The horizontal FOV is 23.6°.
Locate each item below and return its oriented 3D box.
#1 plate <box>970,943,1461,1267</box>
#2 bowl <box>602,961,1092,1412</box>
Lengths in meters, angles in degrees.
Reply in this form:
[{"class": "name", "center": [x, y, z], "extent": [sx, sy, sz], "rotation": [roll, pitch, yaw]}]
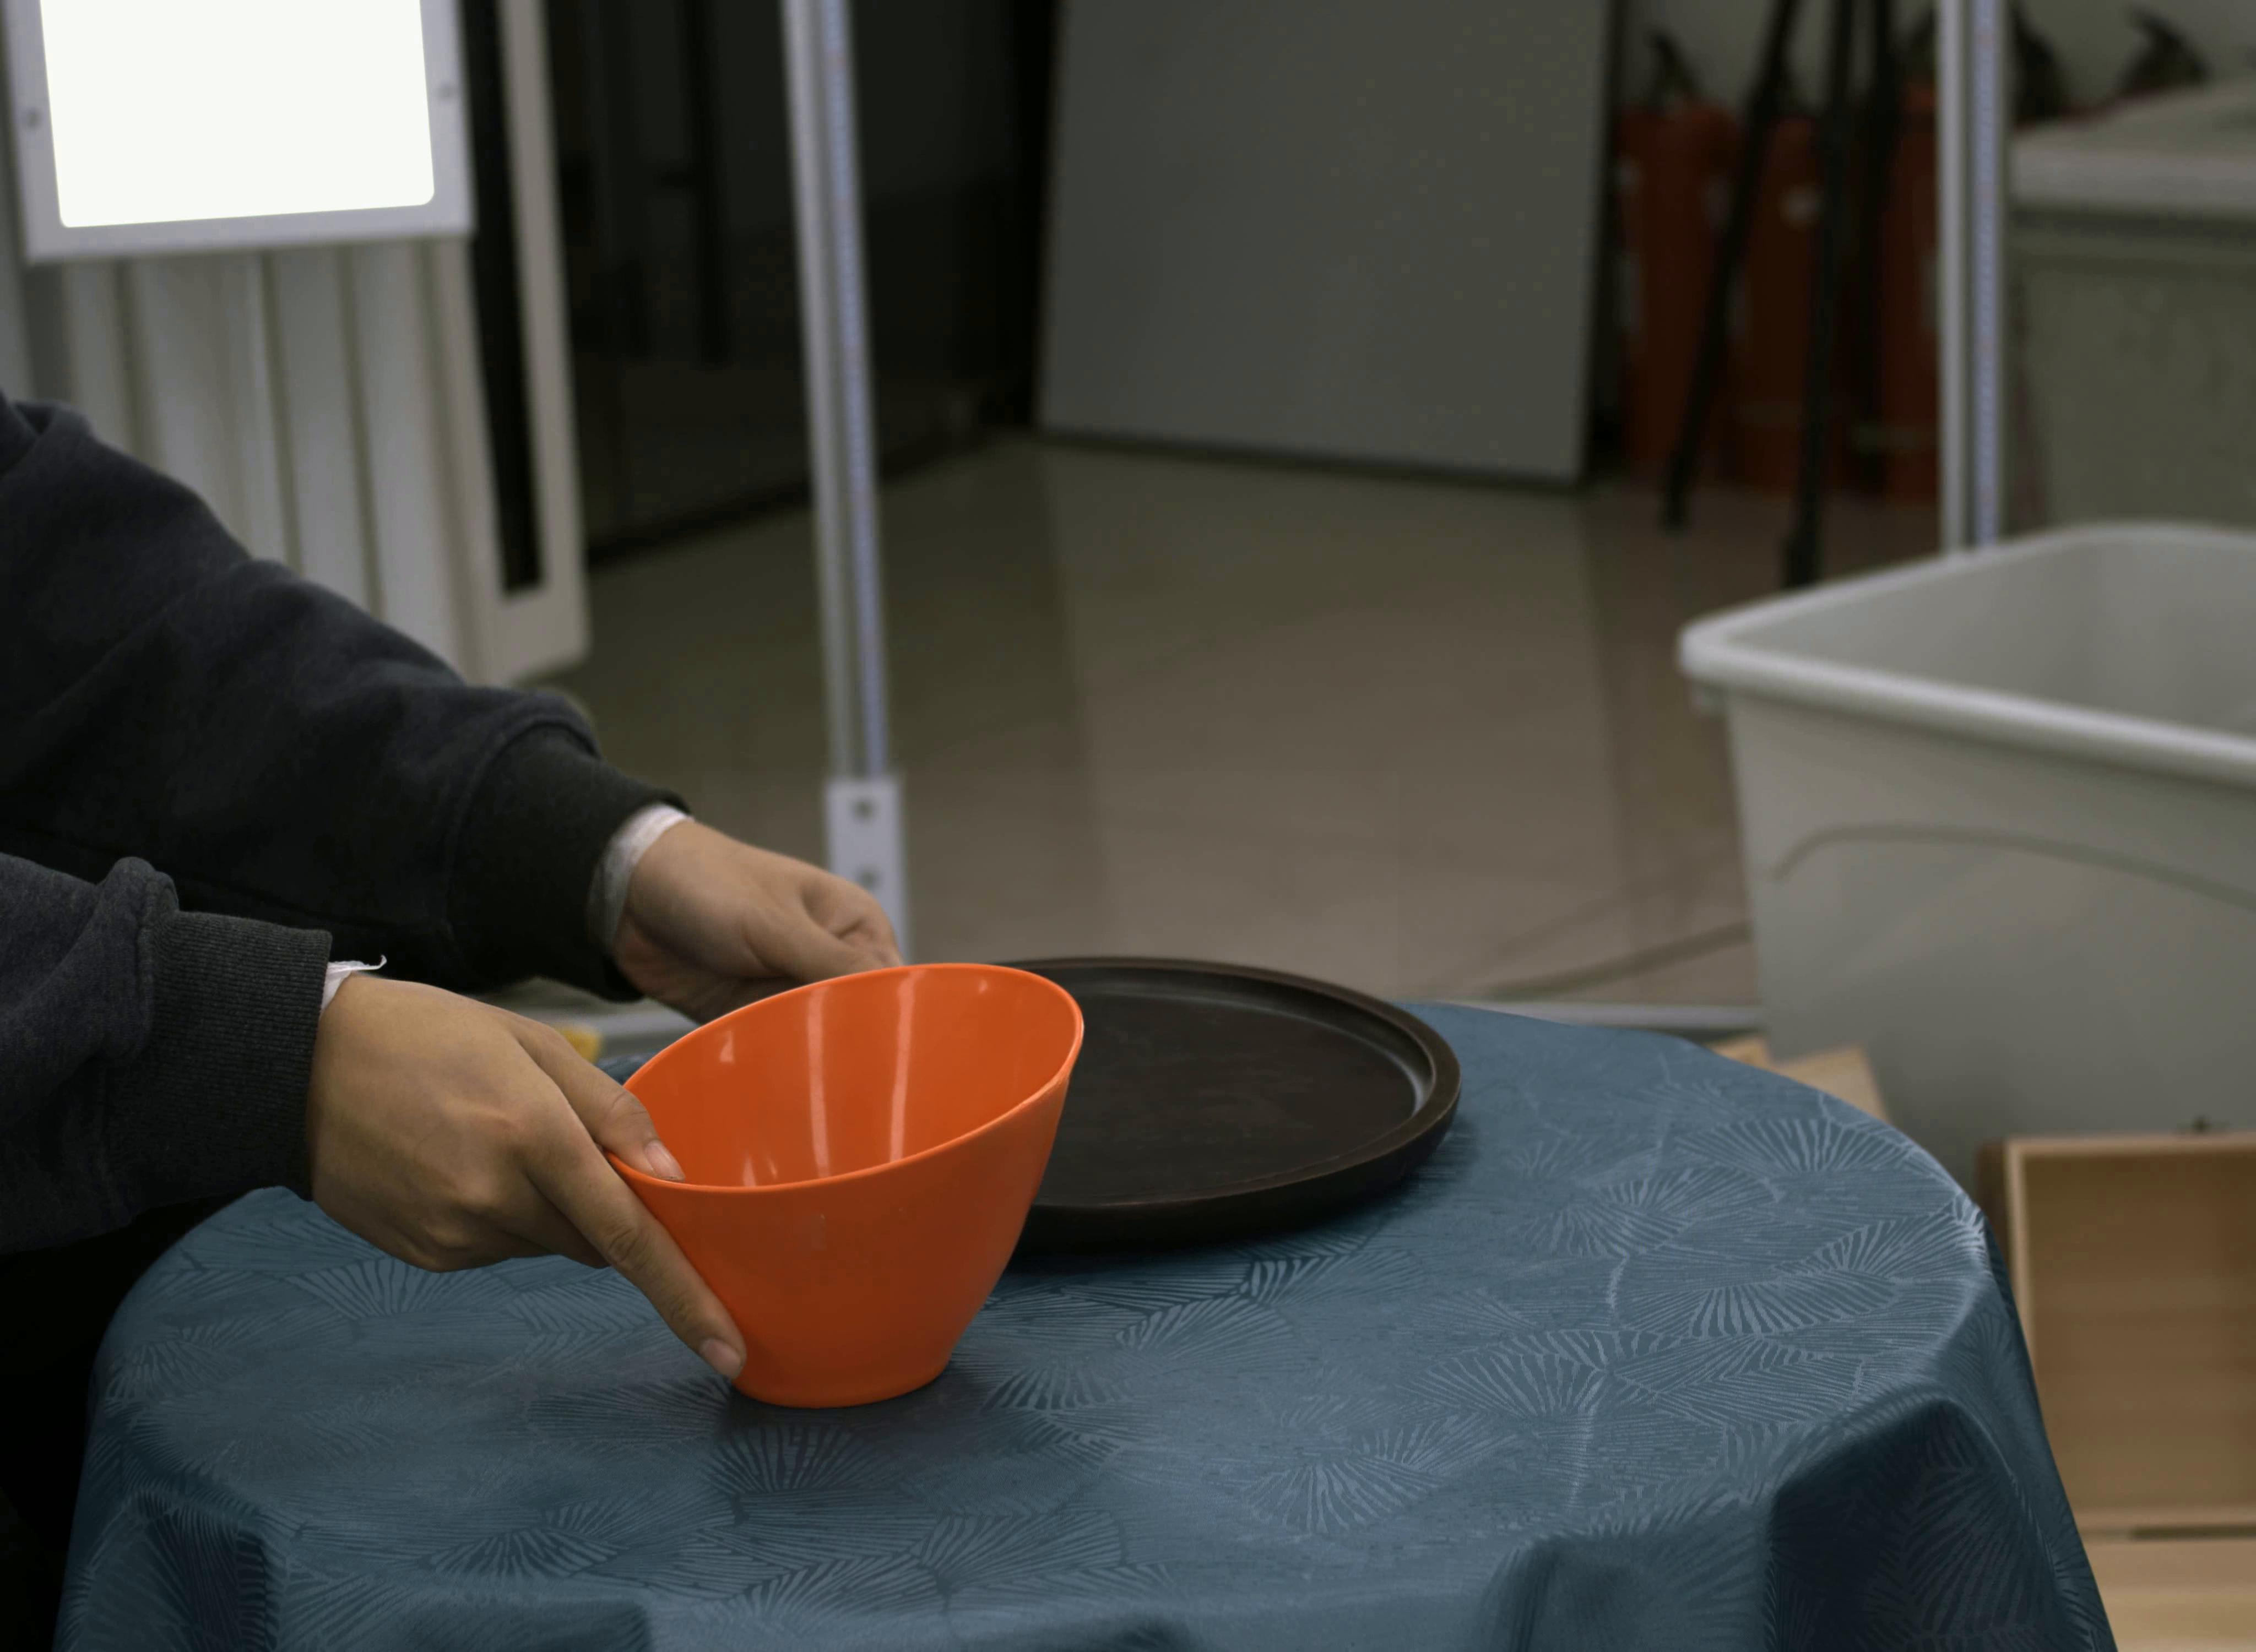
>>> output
[{"class": "plate", "center": [-0.013, 0.094, 1.808], "extent": [0.251, 0.029, 0.255], "rotation": [-2, 18, 0]}, {"class": "bowl", "center": [-0.081, 0.111, 1.609], "extent": [0.146, 0.106, 0.148], "rotation": [-2, 17, 0]}]
